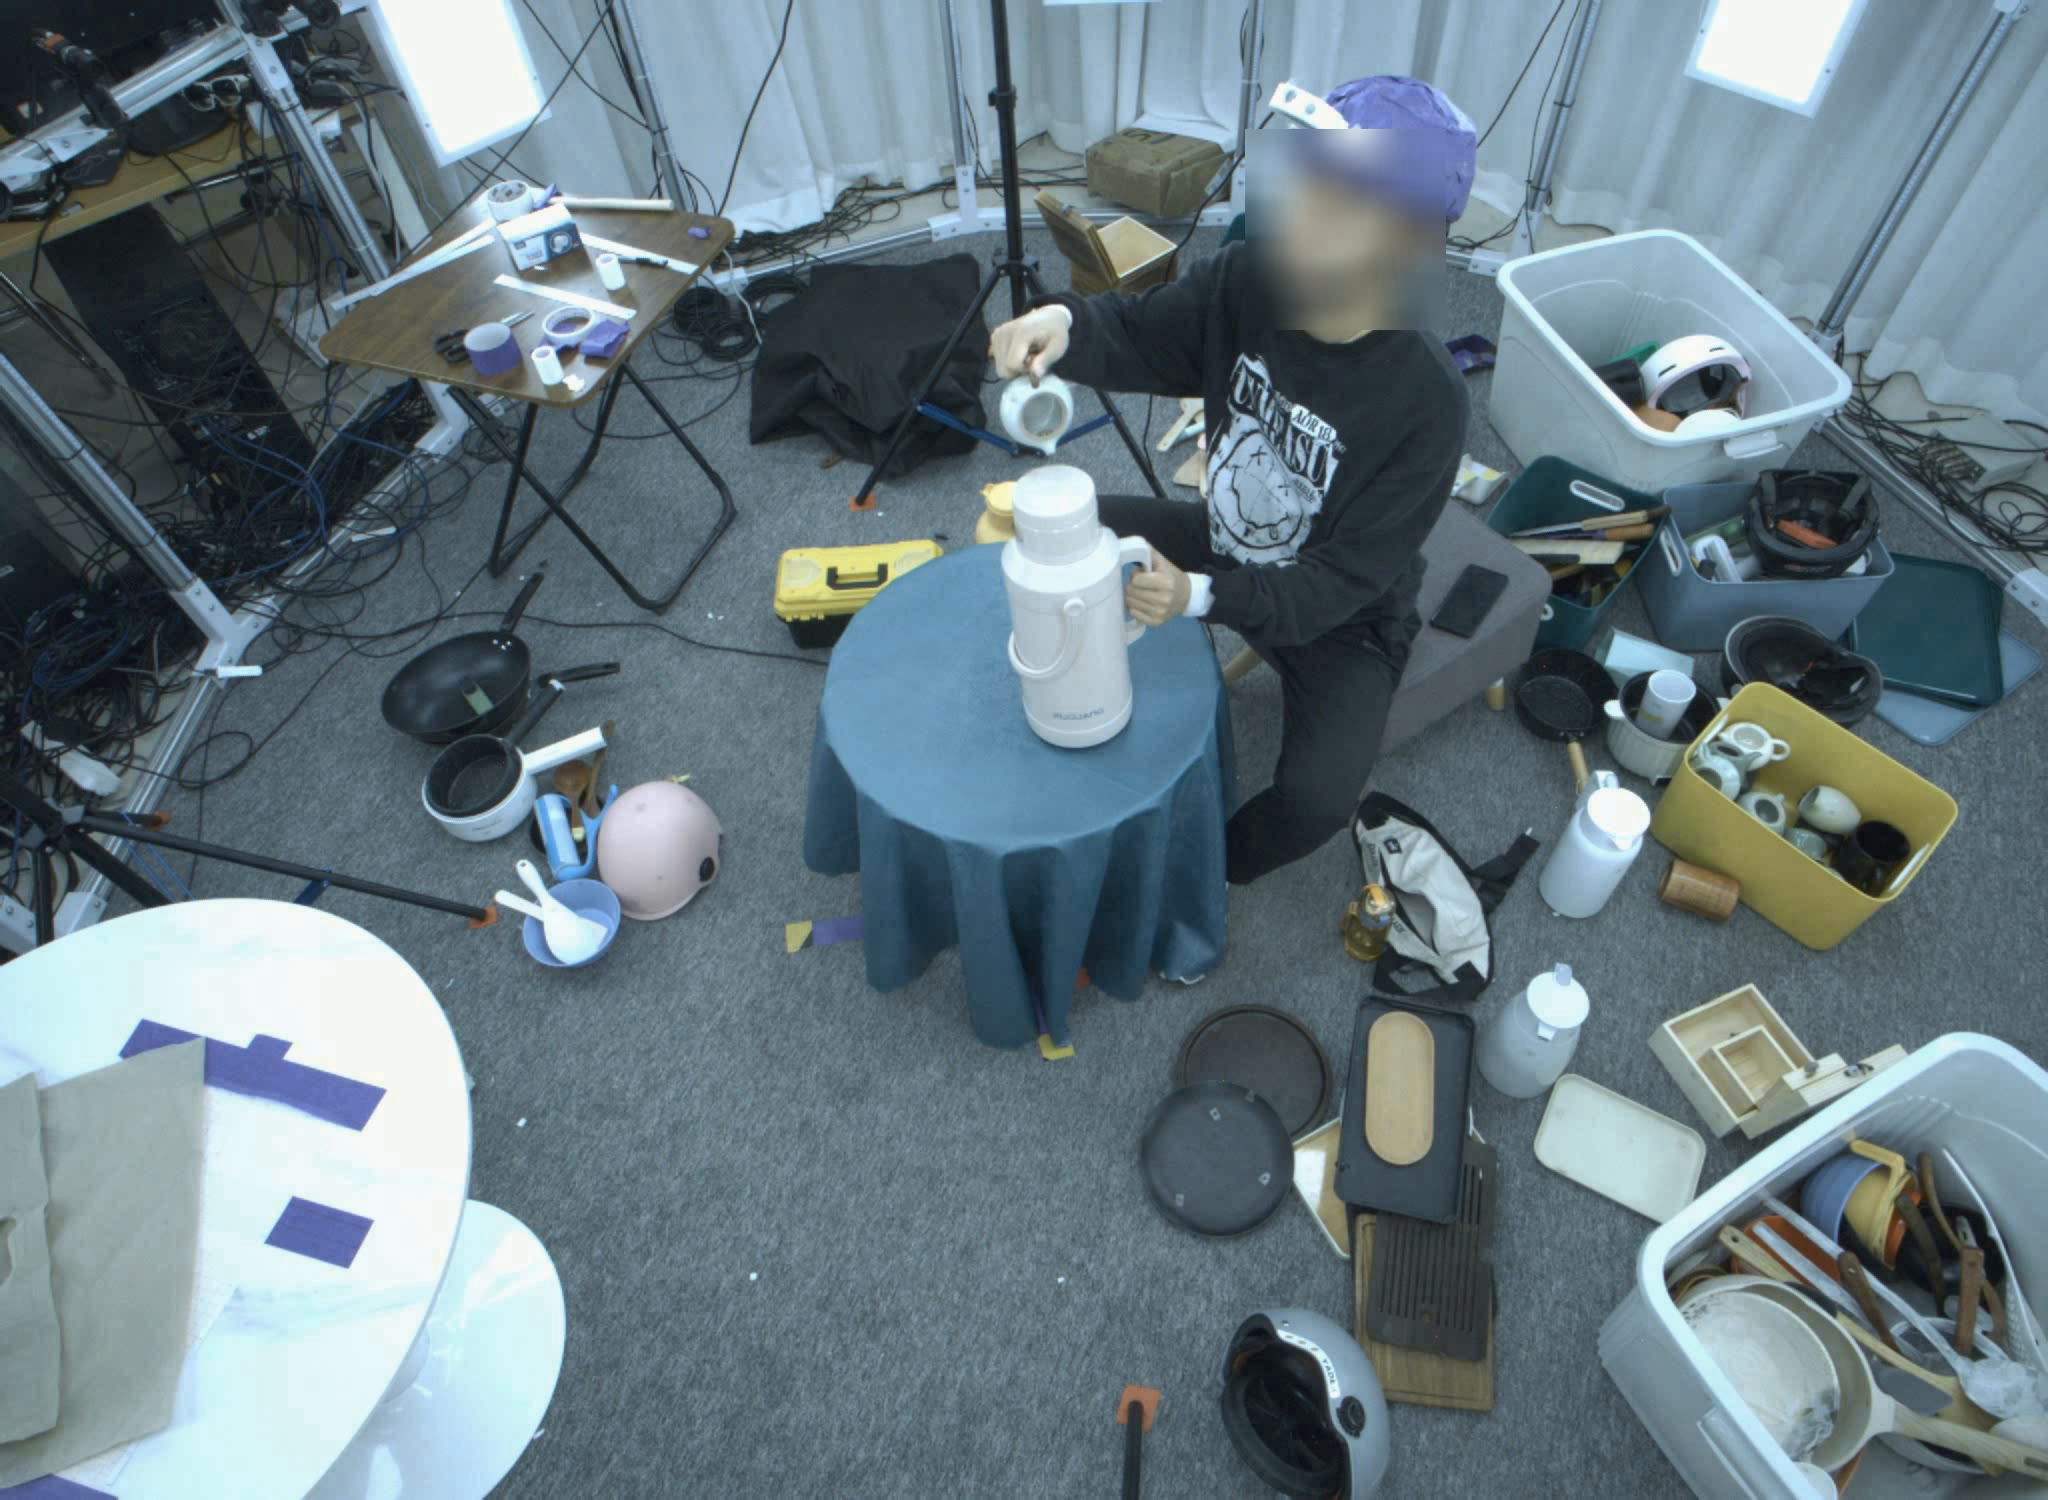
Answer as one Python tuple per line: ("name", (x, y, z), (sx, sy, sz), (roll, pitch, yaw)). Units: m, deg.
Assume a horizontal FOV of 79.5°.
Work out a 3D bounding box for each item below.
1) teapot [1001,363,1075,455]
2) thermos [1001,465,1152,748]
("teapot", (0.013, -0.427, 1.488), (0.092, 0.130, 0.058), (-20, 39, -3))
("thermos", (0.073, -0.193, 1.665), (0.207, 0.412, 0.172), (-13, 48, -3))
